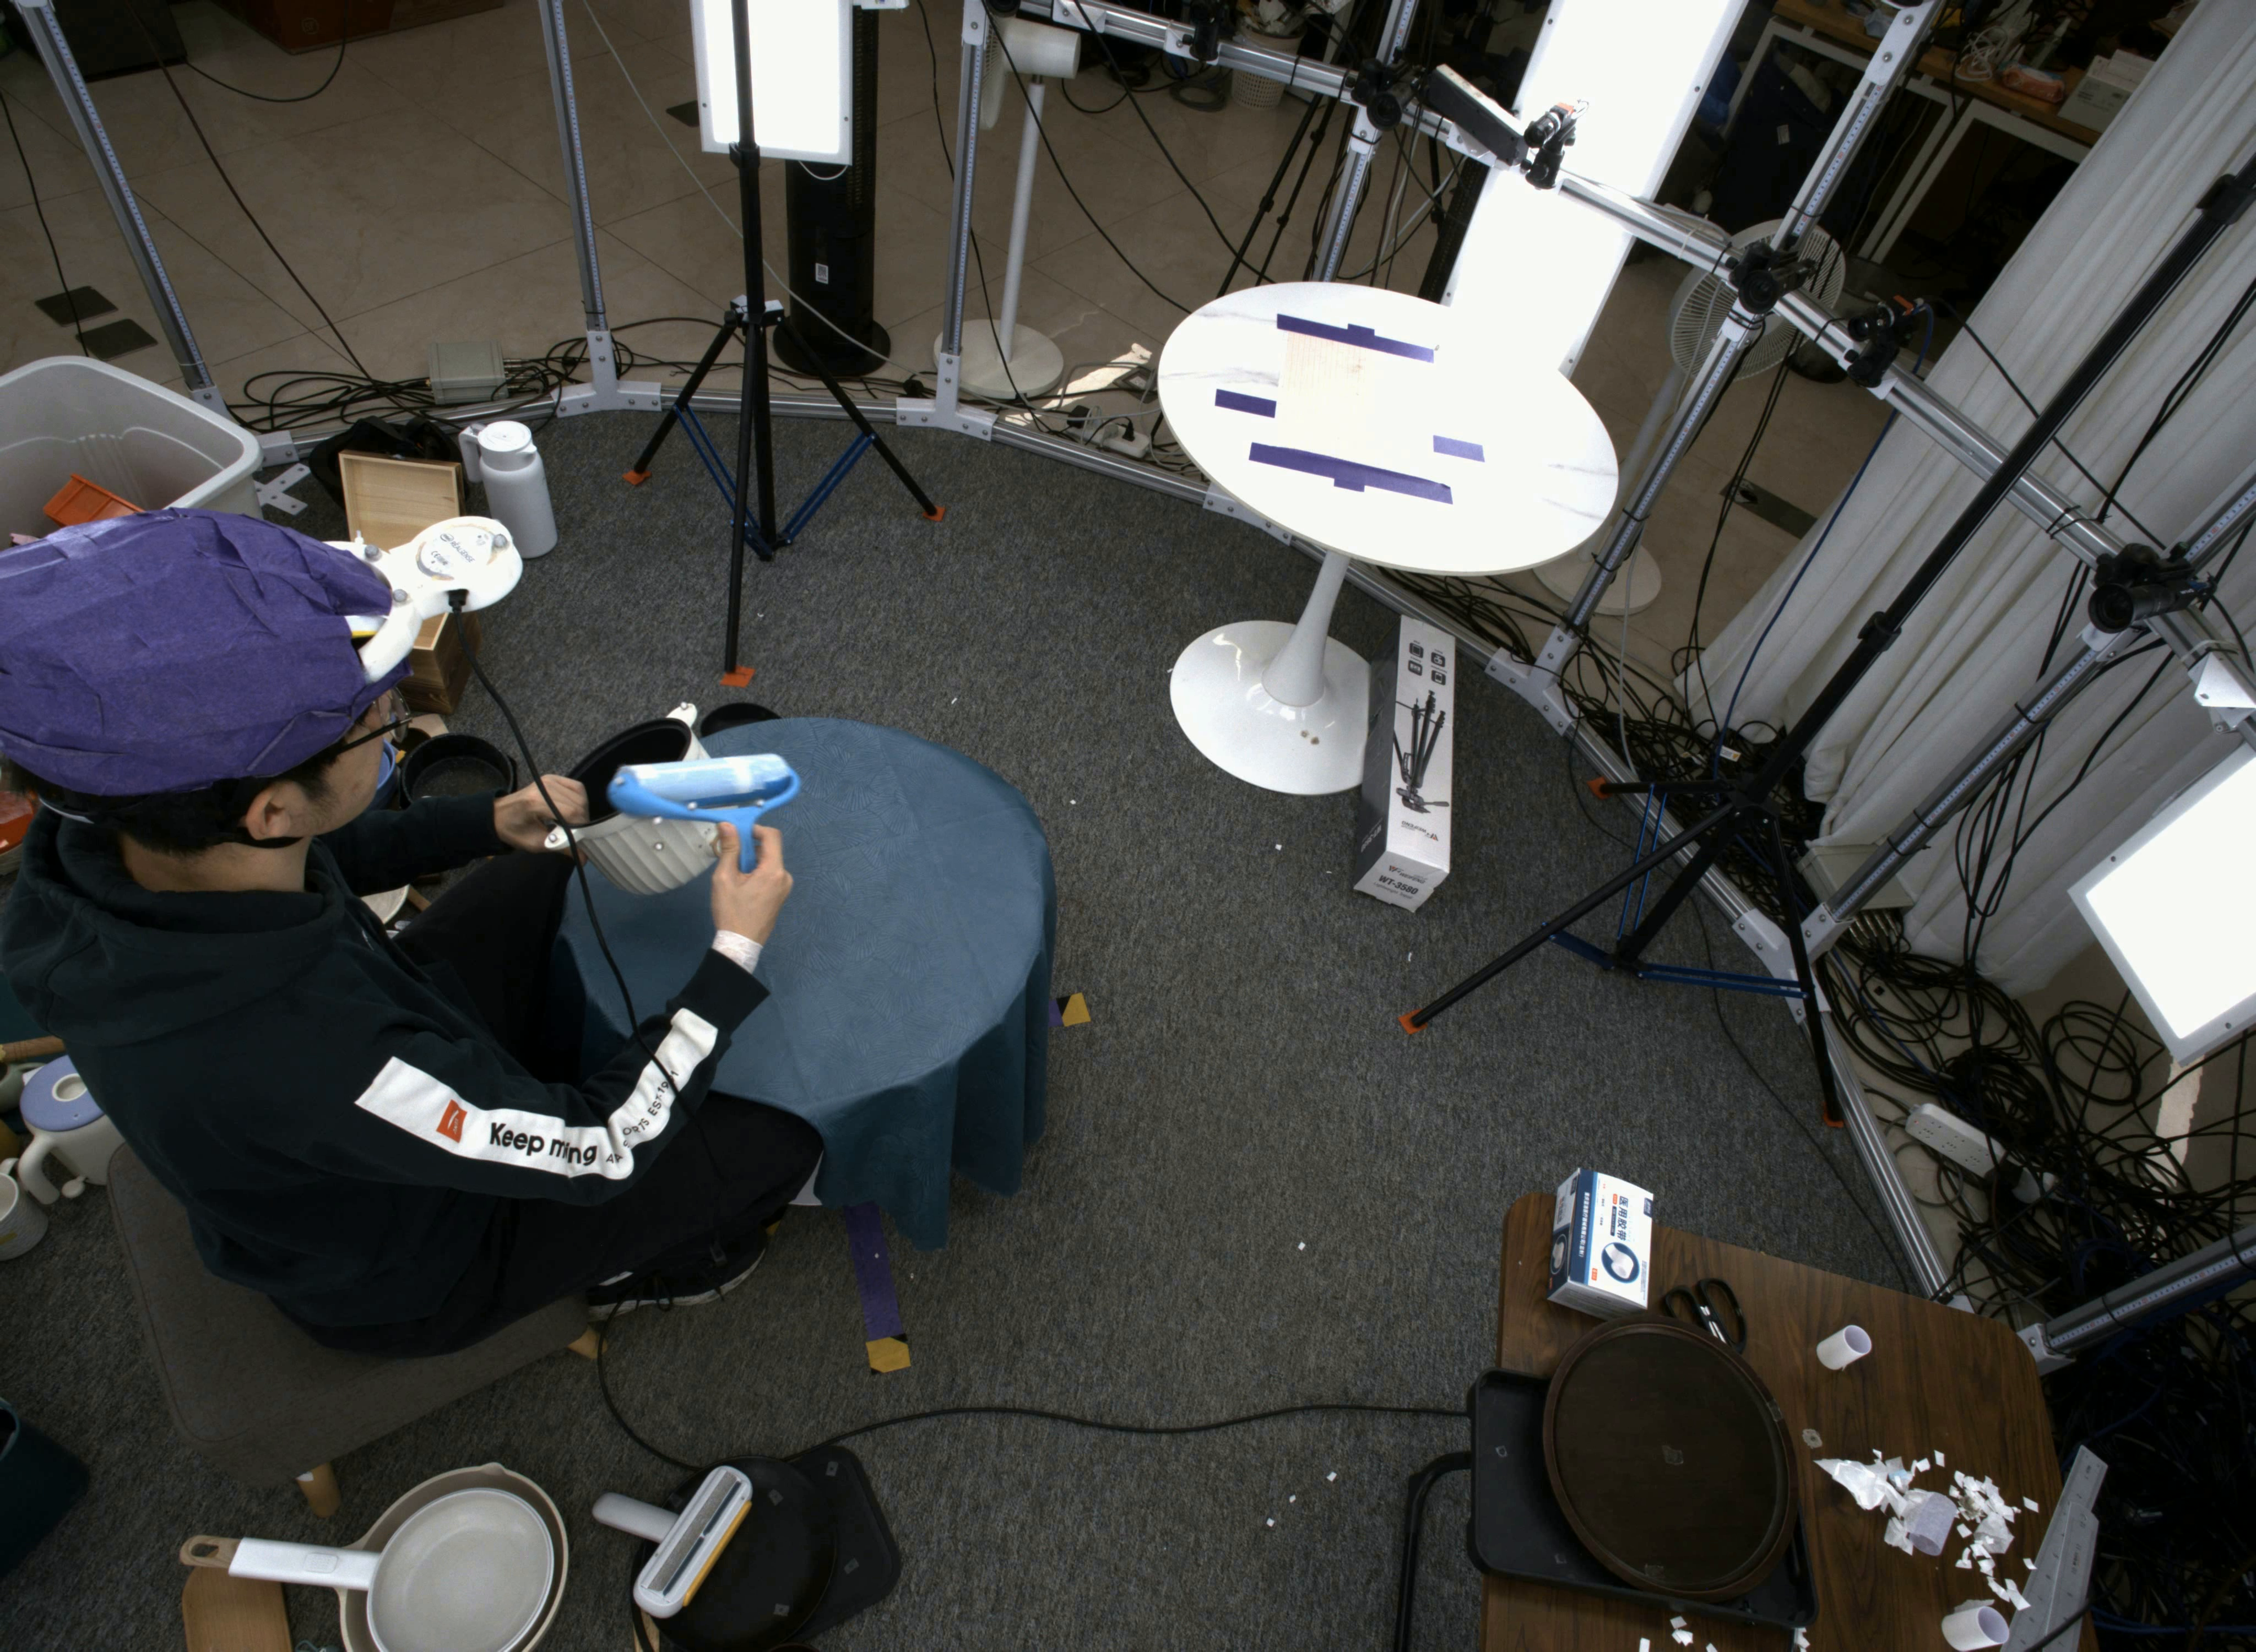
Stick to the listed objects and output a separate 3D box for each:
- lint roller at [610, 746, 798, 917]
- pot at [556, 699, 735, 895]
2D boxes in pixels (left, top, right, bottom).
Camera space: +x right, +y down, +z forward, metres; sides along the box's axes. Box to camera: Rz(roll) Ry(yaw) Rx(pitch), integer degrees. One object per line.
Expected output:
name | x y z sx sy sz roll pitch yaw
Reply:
lint roller | -0.424 0.000 1.363 0.232 0.067 0.180 -16 77 -59
pot | -0.543 -0.020 1.474 0.184 0.148 0.239 3 48 37
